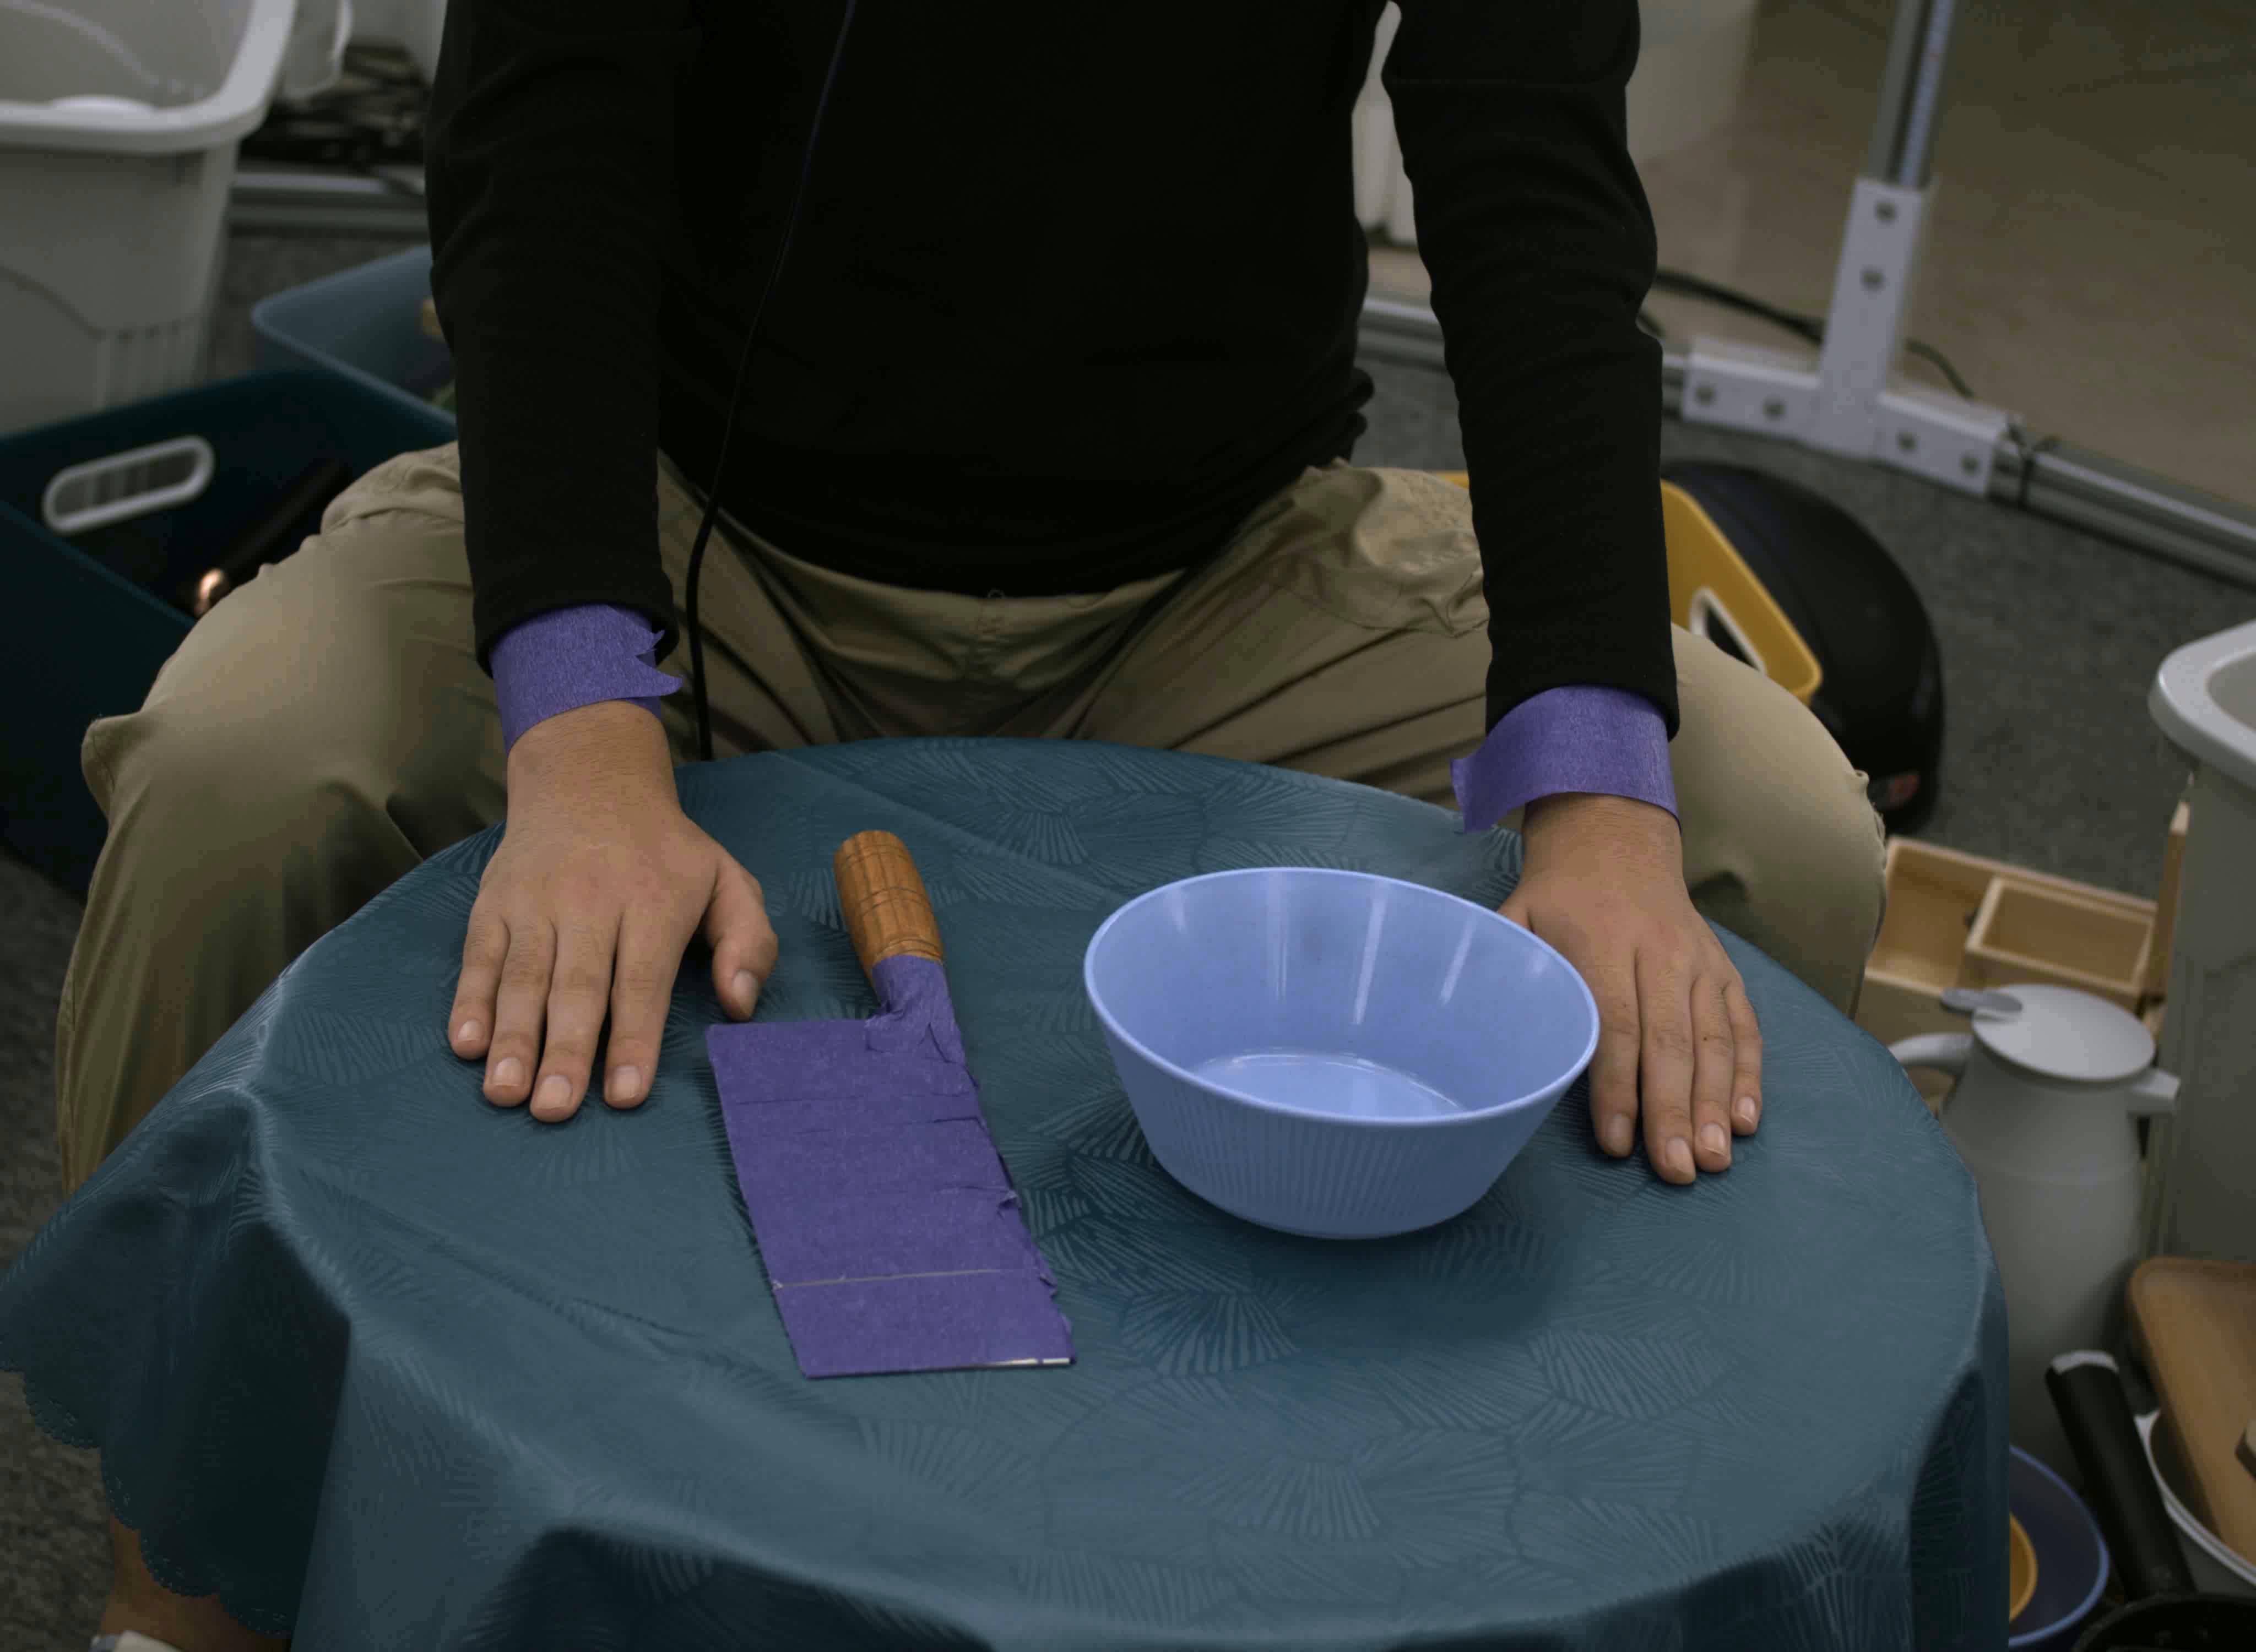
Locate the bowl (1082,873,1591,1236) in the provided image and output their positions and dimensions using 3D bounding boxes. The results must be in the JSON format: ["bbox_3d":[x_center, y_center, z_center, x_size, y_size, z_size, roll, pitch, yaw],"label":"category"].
[{"bbox_3d":[0.067,0.084,1.820,0.175,0.070,0.177,6,26,-3],"label":"bowl"}]

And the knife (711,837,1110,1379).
[{"bbox_3d":[-0.091,0.091,1.819,0.103,0.032,0.318,-1,28,-15],"label":"knife"}]
